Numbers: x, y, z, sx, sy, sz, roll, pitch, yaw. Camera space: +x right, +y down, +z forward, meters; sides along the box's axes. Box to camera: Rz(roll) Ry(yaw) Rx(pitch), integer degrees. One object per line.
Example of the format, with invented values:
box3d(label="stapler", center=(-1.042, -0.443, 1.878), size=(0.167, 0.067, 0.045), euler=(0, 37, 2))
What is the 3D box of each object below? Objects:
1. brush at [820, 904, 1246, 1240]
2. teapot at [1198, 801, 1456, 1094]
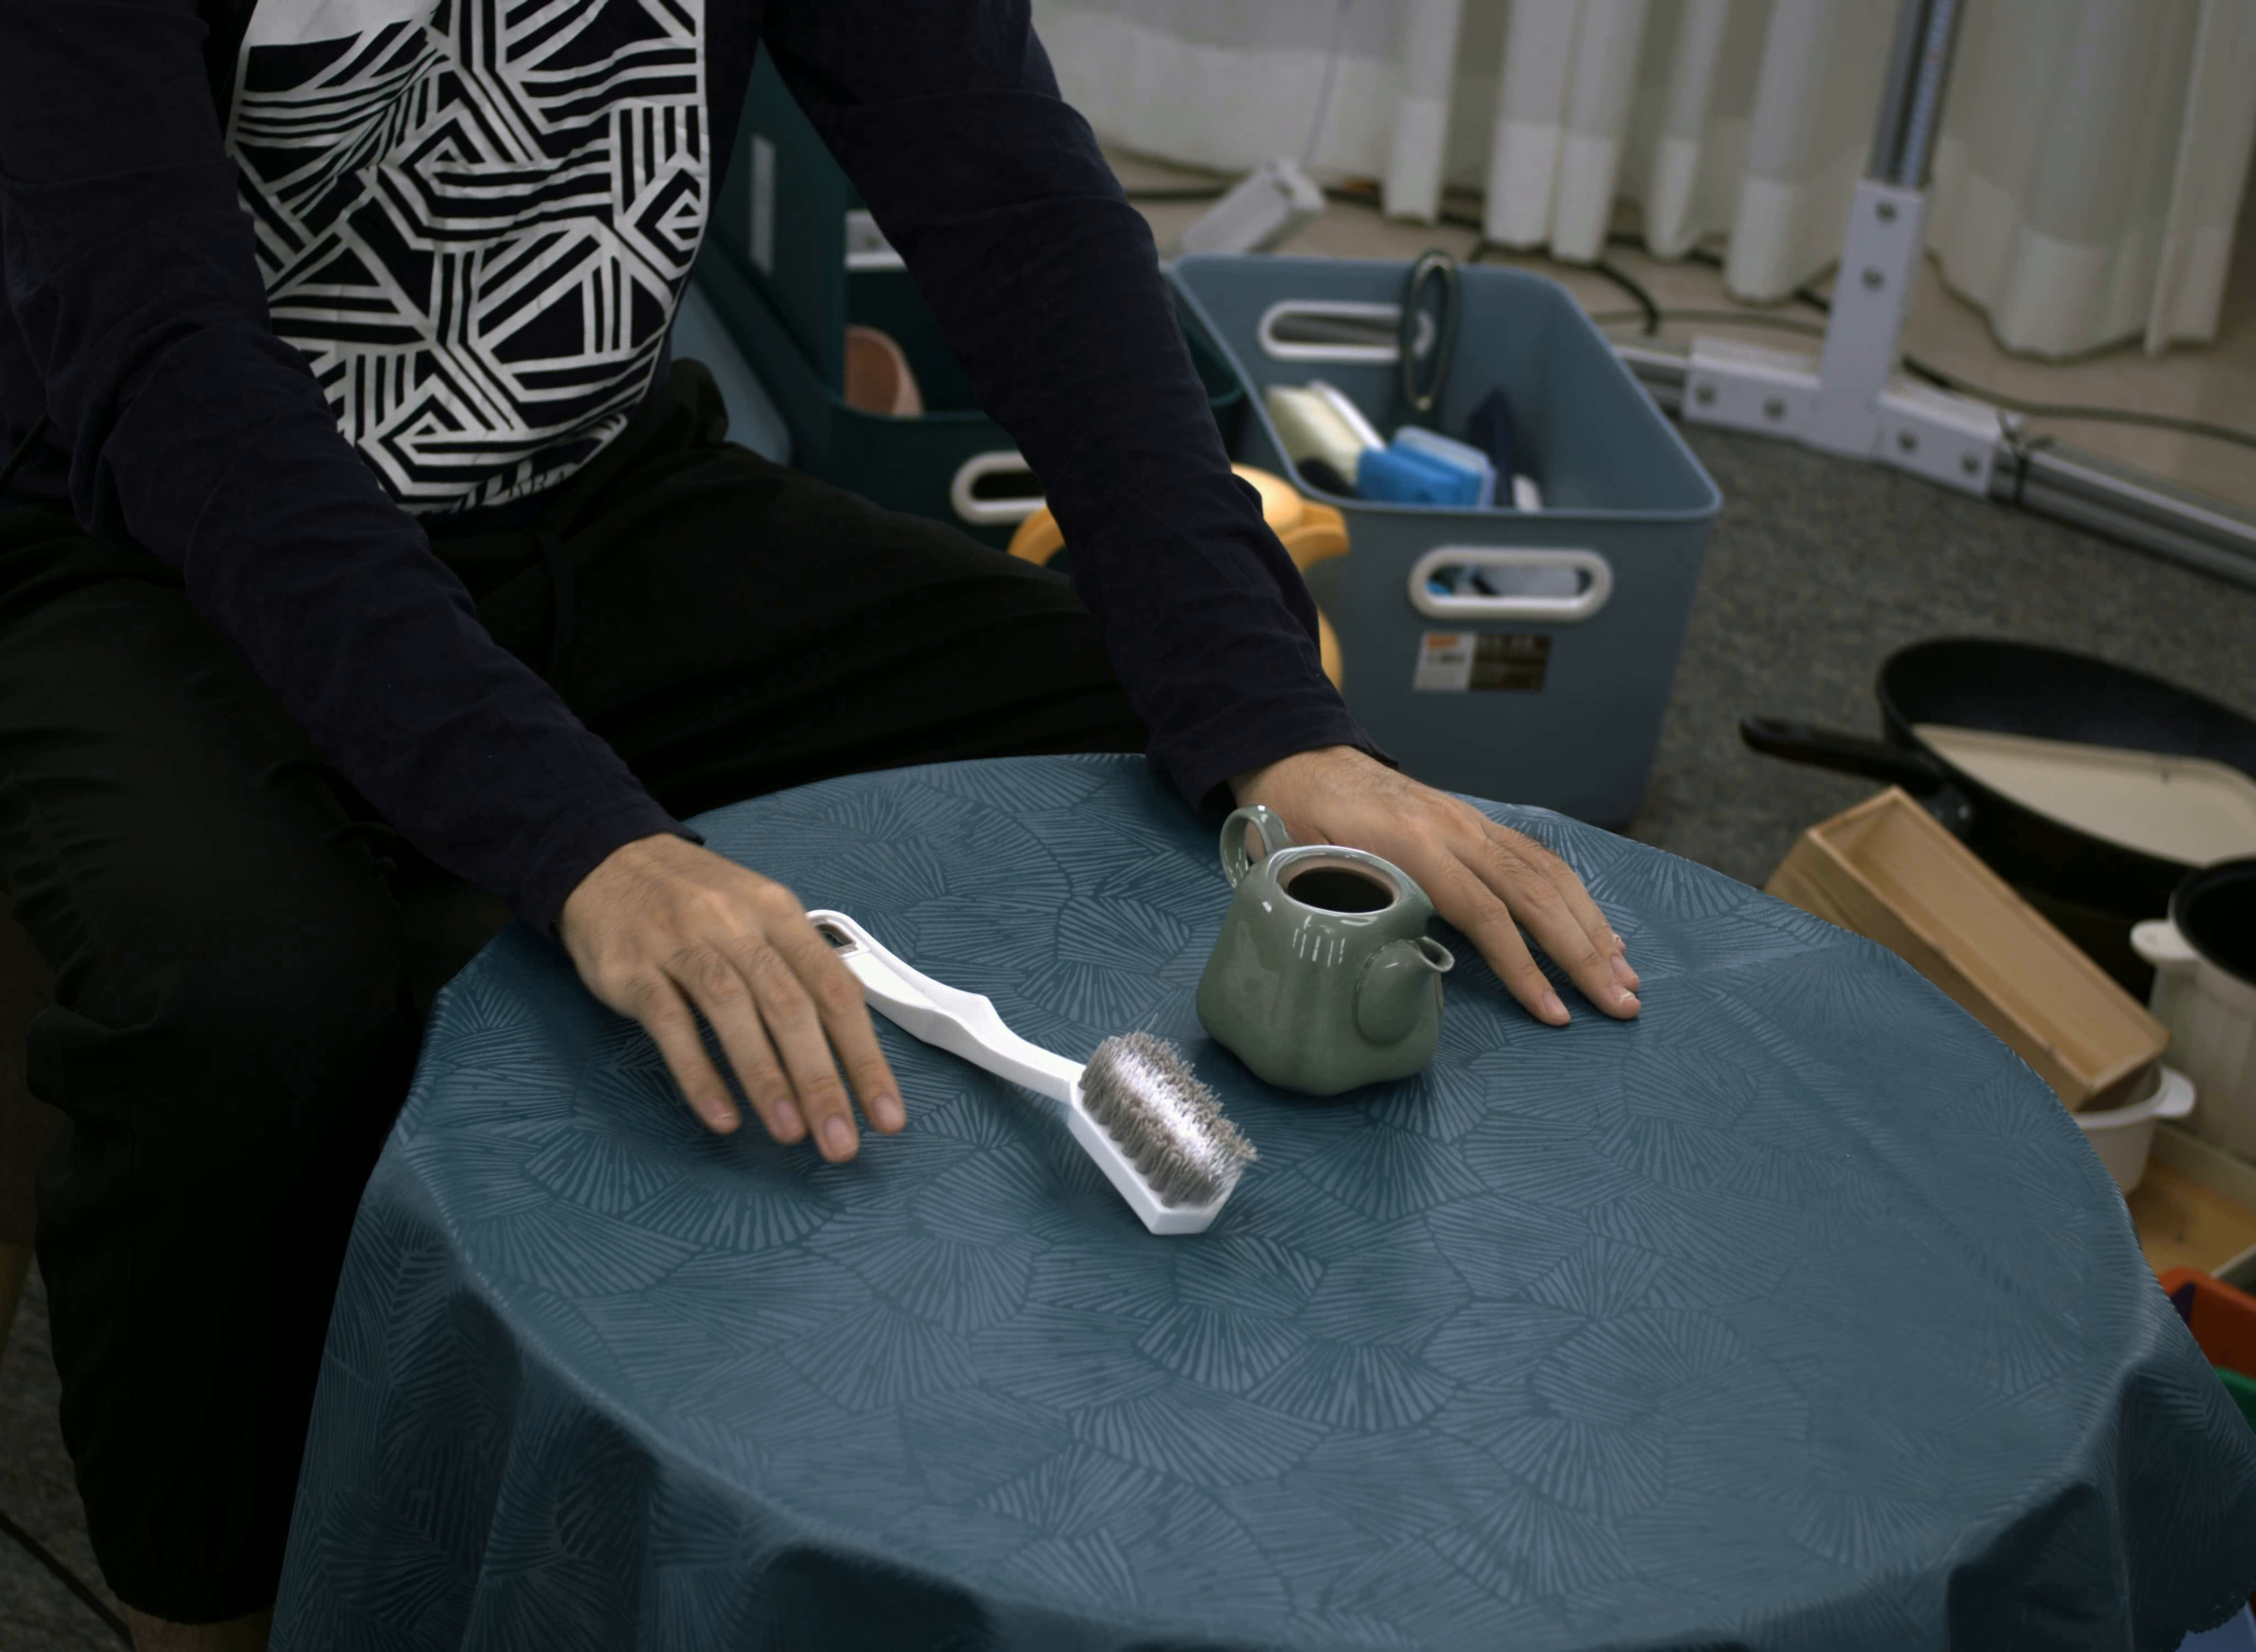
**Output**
box3d(label="brush", center=(-0.039, 0.068, 1.854), size=(0.034, 0.050, 0.246), euler=(-17, 35, -29))
box3d(label="teapot", center=(0.071, 0.047, 1.891), size=(0.079, 0.075, 0.133), euler=(-12, 32, -32))
